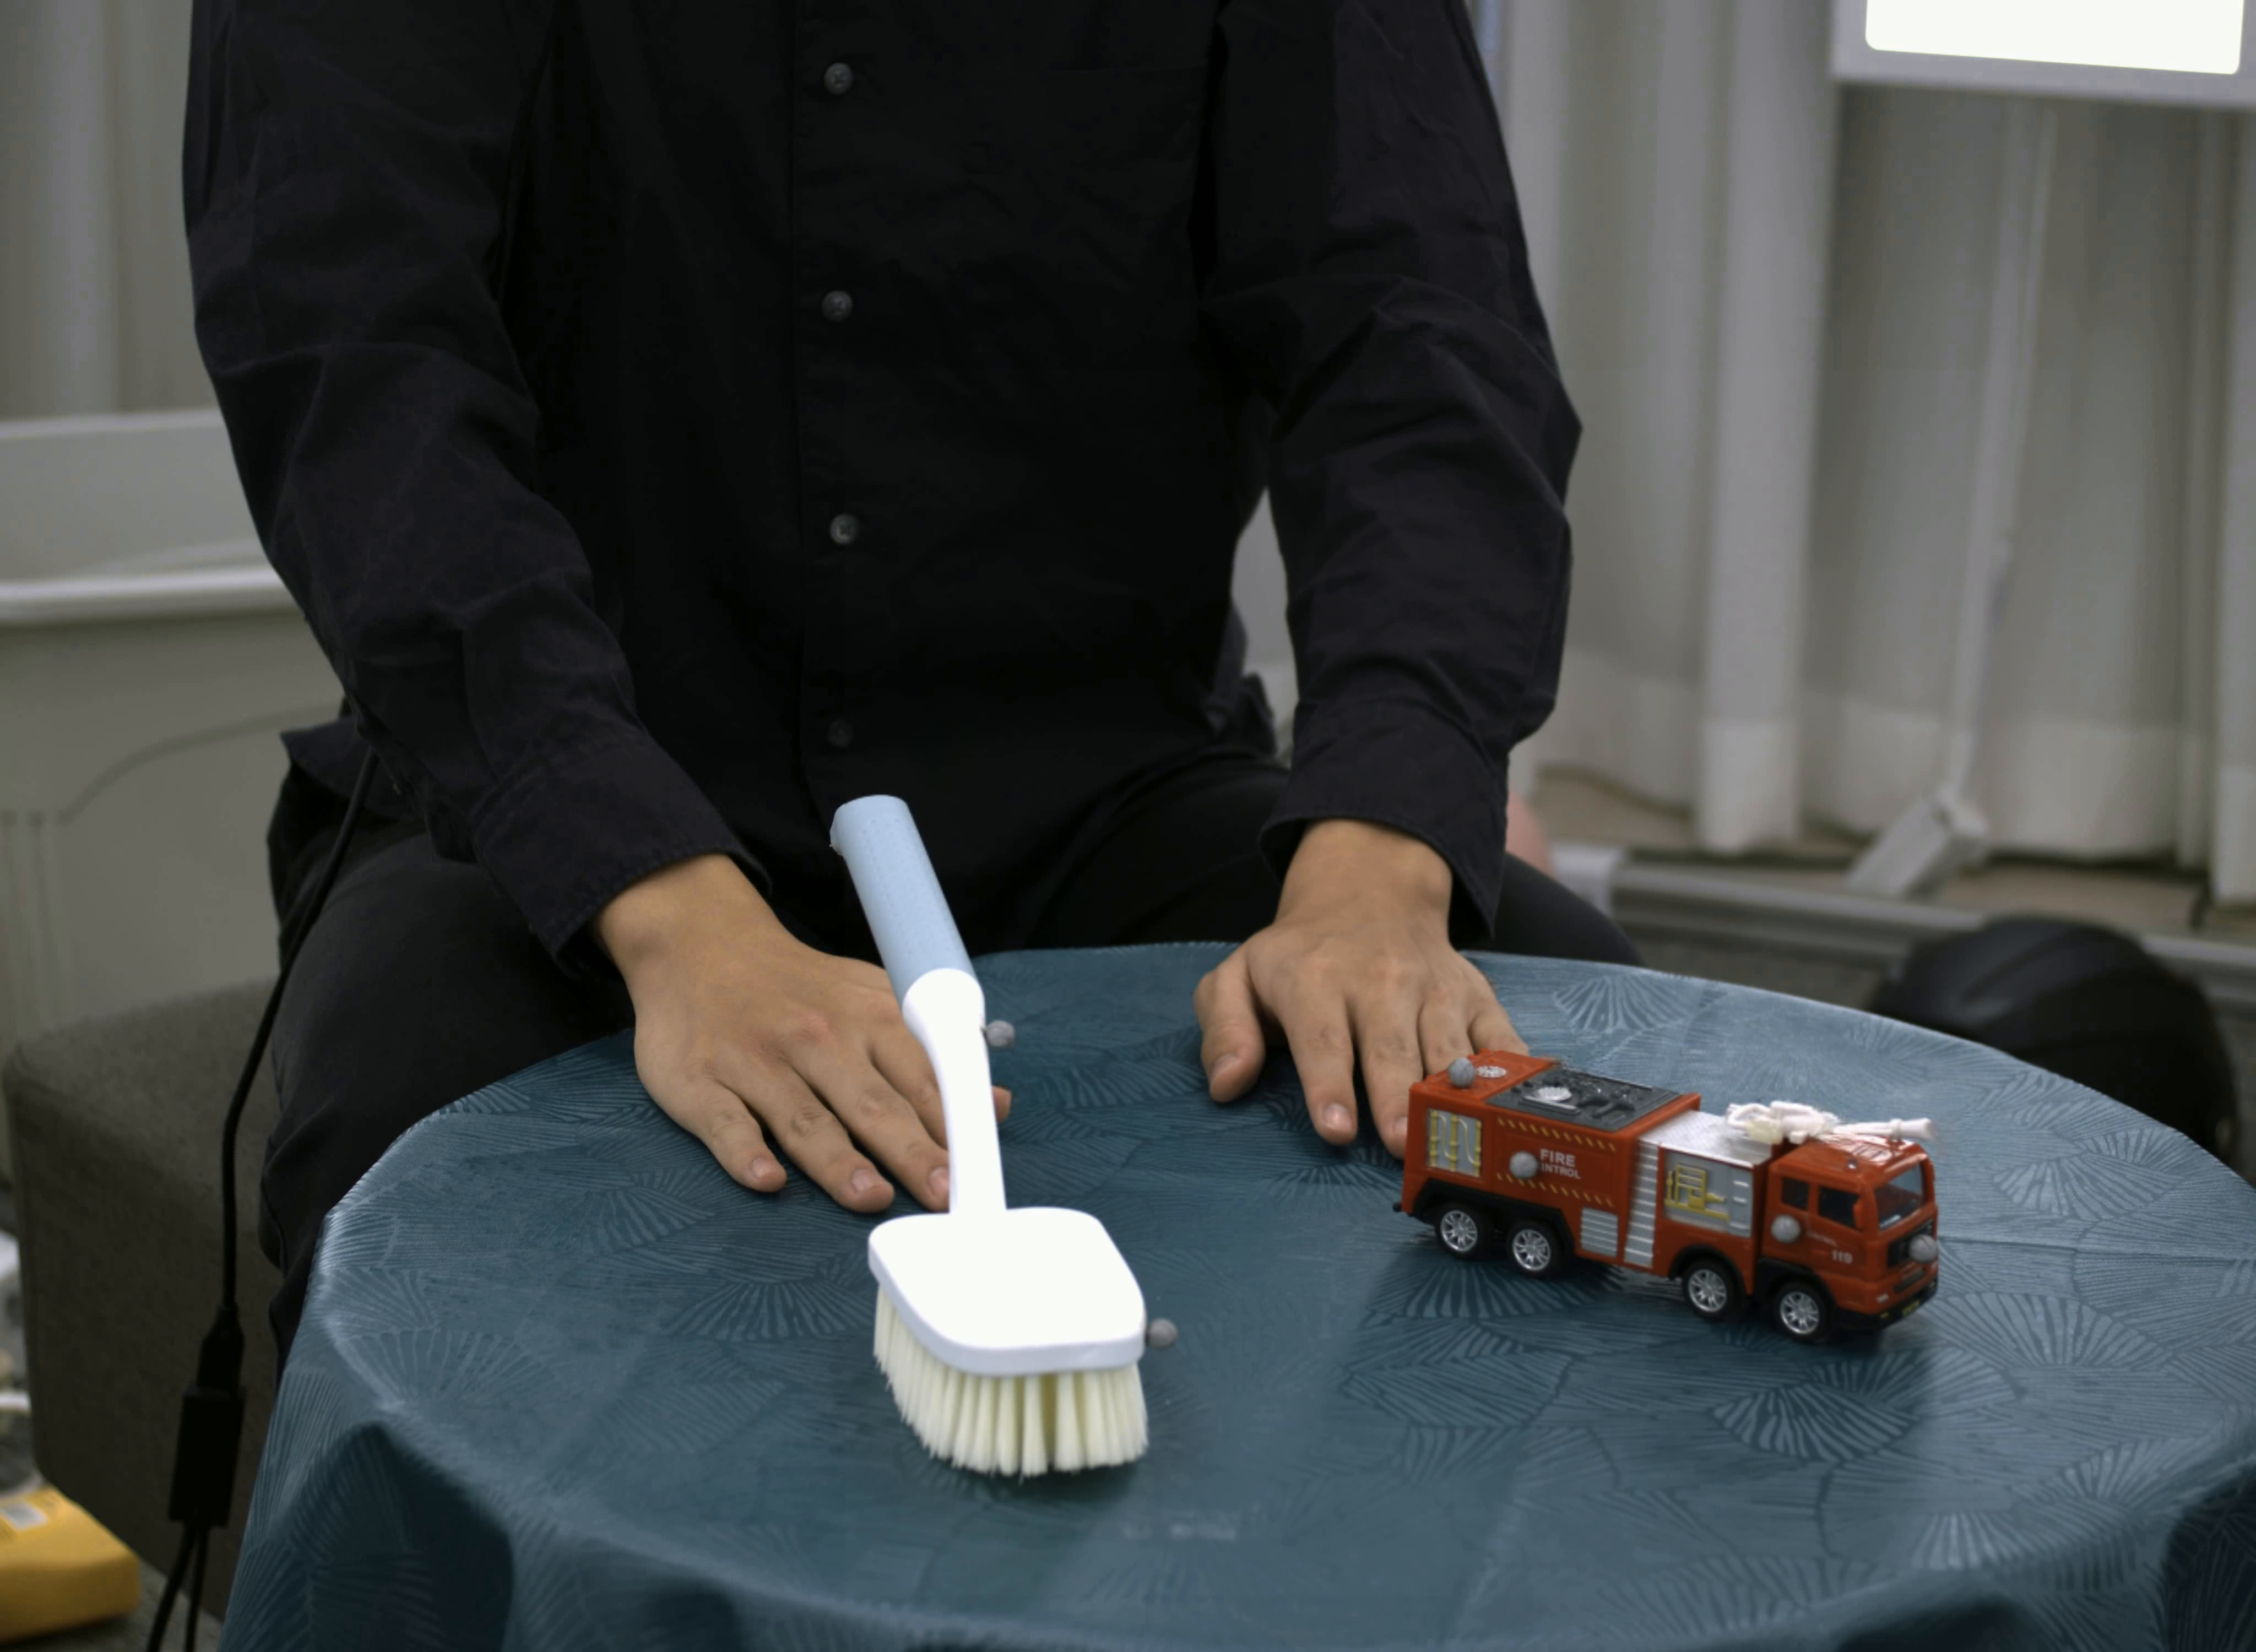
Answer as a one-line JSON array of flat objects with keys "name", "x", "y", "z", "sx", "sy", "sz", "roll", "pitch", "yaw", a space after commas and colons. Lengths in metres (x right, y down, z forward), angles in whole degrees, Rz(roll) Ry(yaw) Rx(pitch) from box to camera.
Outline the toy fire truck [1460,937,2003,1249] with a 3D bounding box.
[{"name": "toy fire truck", "x": 0.181, "y": 0.076, "z": 1.567, "sx": 0.166, "sy": 0.071, "sz": 0.054, "roll": 10, "pitch": 18, "yaw": 32}]

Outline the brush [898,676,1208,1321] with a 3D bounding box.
[{"name": "brush", "x": -0.029, "y": 0.063, "z": 1.564, "sx": 0.084, "sy": 0.084, "sz": 0.322, "roll": 34, "pitch": 15, "yaw": -26}]
